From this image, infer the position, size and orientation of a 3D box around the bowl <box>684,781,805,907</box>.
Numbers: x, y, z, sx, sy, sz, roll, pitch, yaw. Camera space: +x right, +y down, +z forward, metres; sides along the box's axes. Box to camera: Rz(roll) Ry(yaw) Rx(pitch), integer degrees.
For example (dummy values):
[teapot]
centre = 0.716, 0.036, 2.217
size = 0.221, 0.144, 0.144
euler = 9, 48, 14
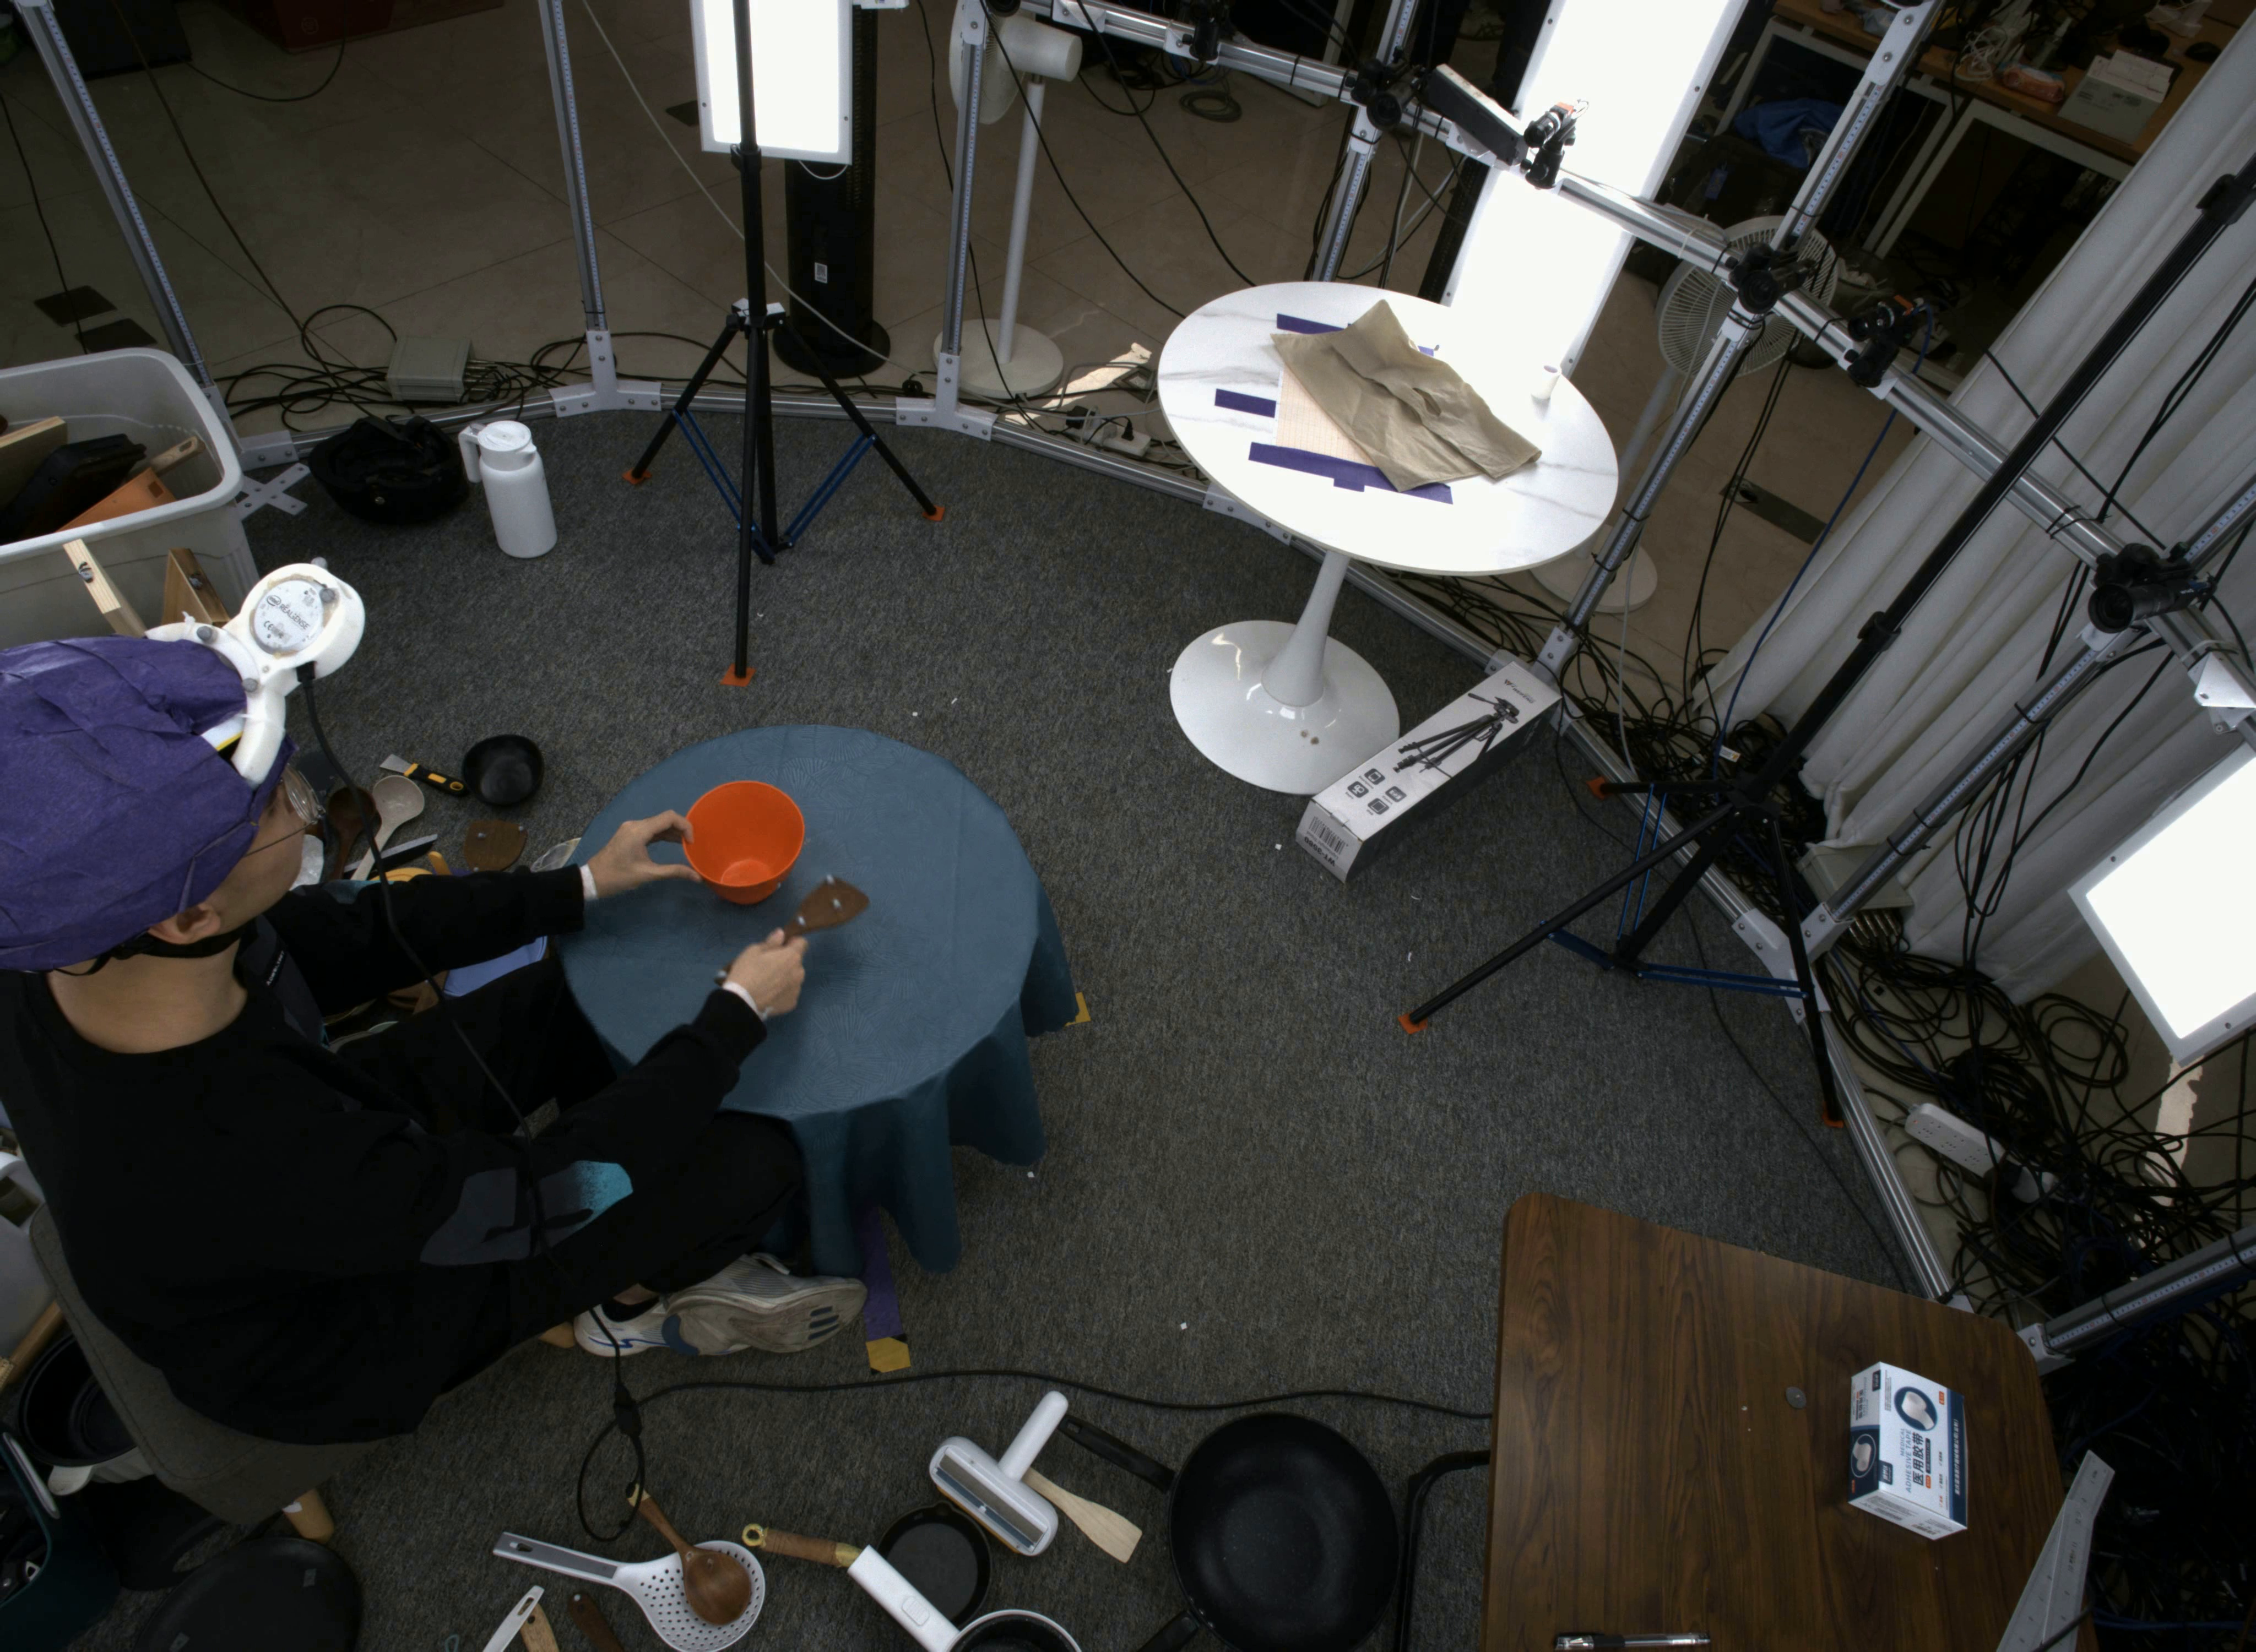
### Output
[bowl]
centre = -0.479, 0.033, 1.626
size = 0.147, 0.107, 0.145
euler = 7, 52, -7

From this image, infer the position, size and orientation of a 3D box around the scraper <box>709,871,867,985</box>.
[scraper]
centre = -0.405, 0.120, 1.530
size = 0.073, 0.011, 0.211
euler = 29, 47, 26
